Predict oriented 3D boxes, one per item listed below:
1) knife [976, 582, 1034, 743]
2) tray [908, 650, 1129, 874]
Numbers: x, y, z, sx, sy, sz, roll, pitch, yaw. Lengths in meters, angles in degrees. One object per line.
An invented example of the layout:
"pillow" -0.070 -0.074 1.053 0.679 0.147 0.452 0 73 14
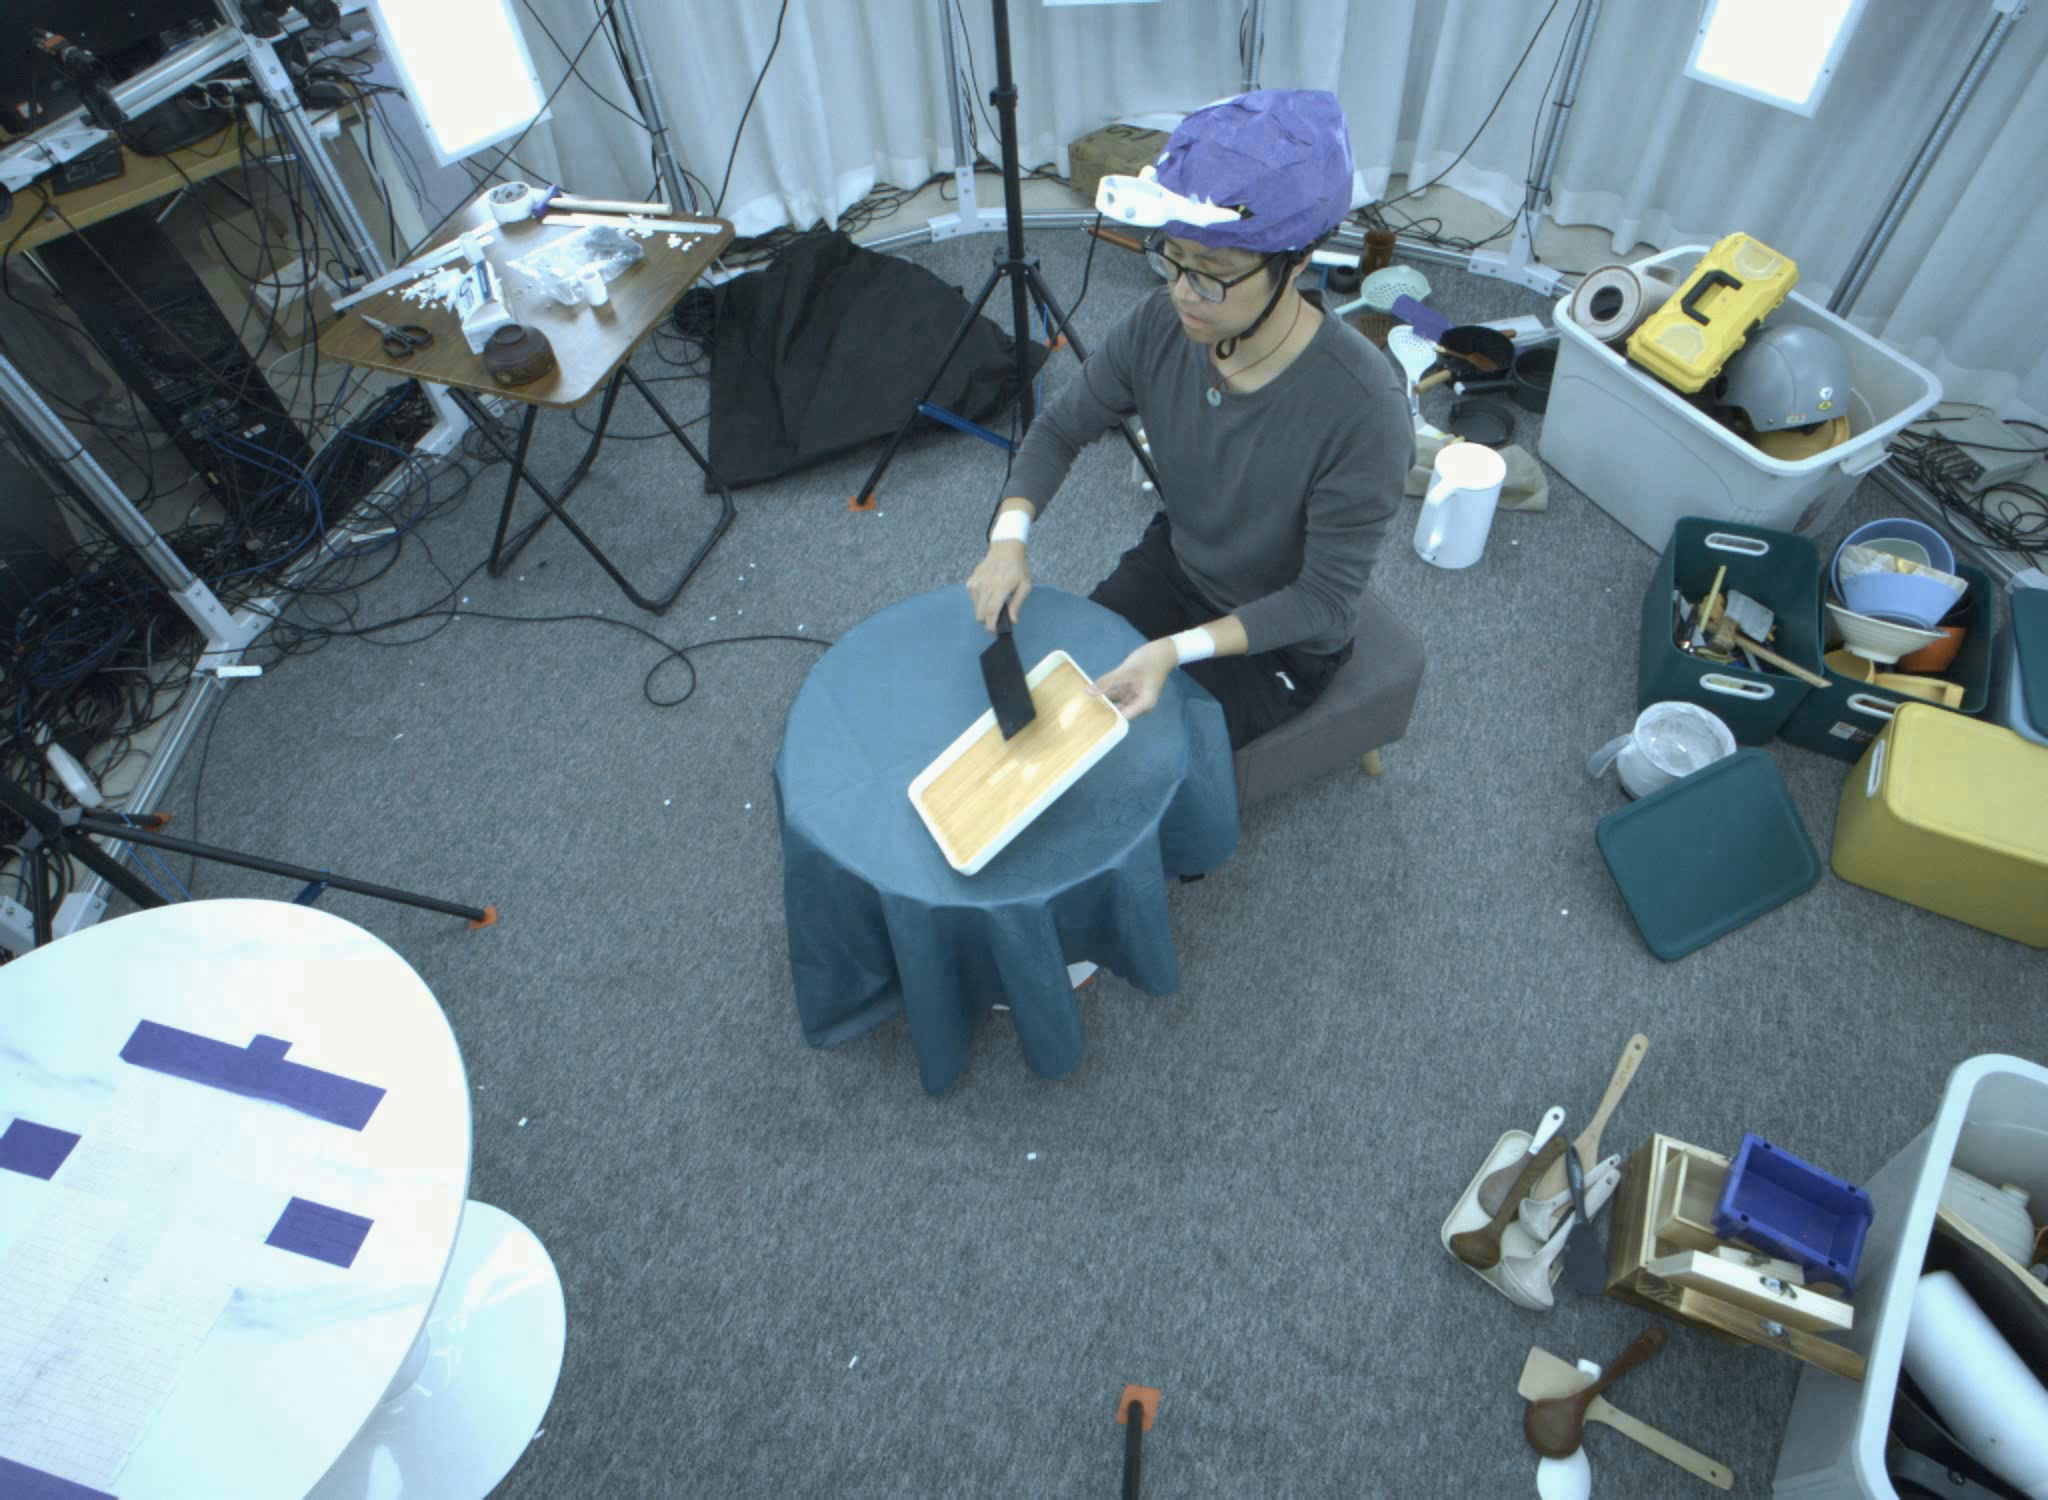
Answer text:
"knife" -0.037 -0.133 1.743 0.080 0.021 0.298 -34 46 26
"tray" -0.012 0.013 1.674 0.300 0.028 0.187 -42 47 4
